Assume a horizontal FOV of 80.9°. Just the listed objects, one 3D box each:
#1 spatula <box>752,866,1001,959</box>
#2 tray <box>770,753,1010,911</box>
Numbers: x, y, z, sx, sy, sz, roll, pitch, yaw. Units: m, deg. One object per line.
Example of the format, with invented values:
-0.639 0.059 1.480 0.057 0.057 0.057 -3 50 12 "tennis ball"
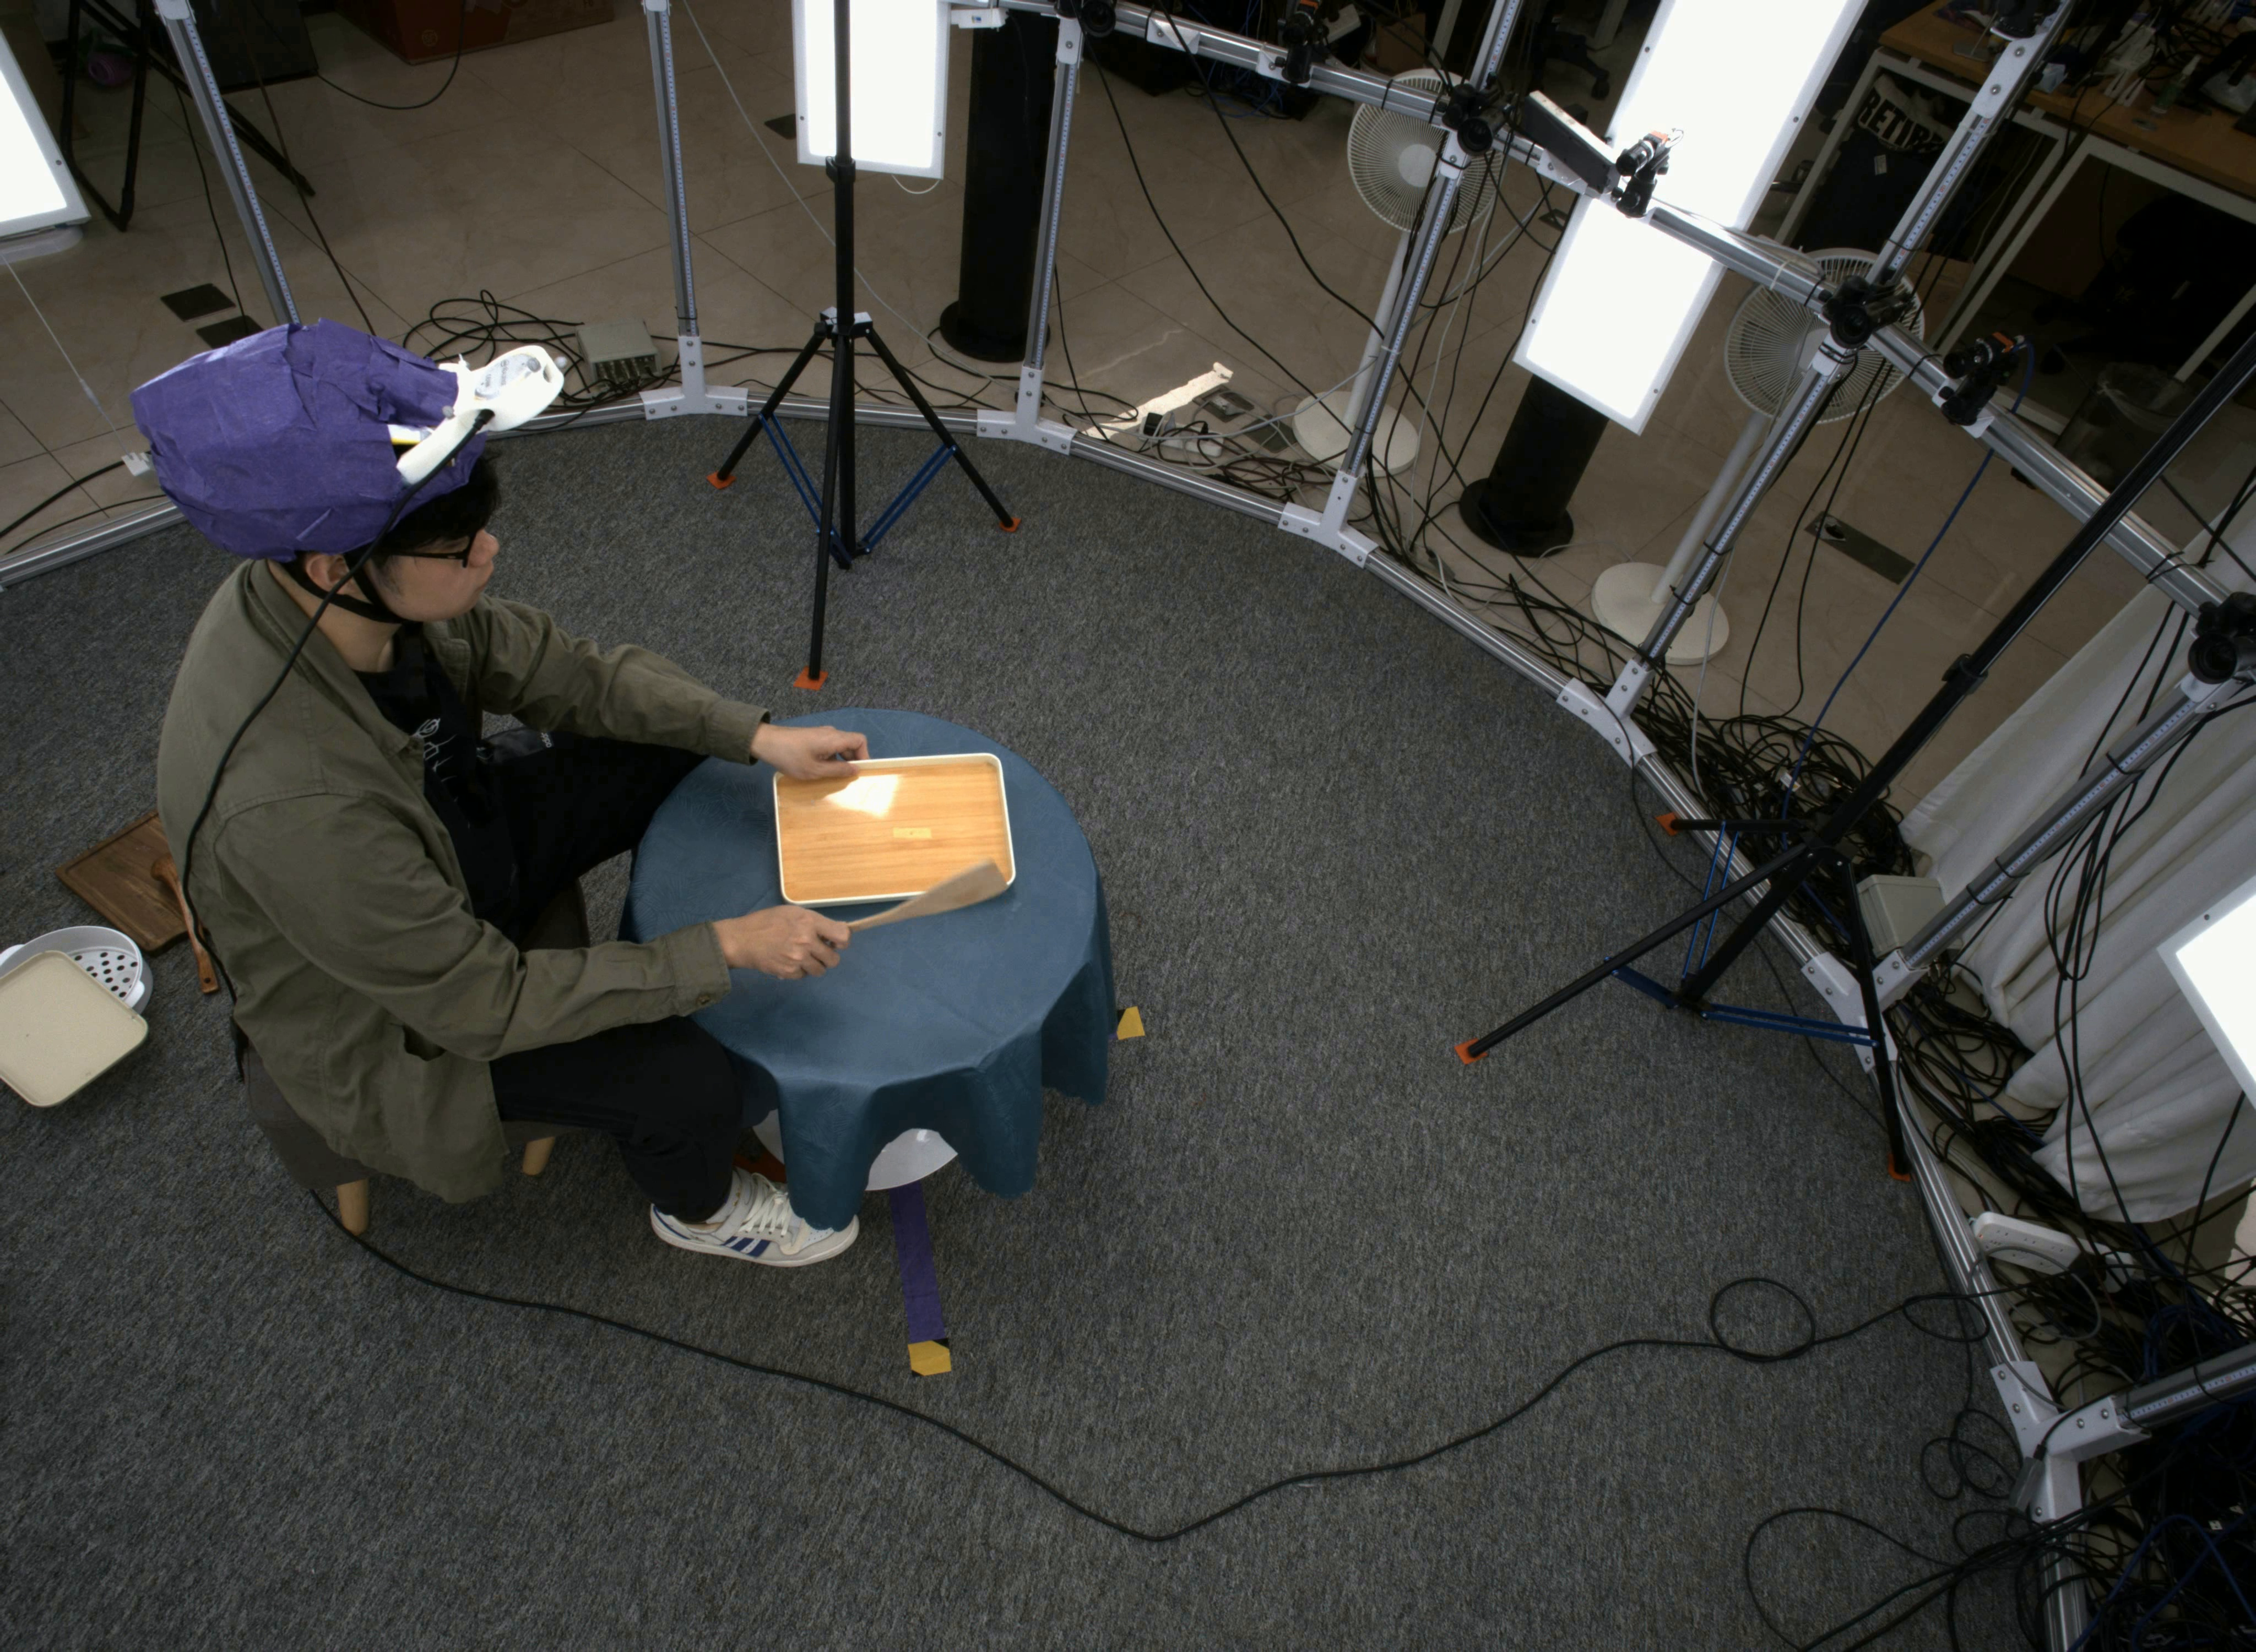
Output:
-0.296 0.106 1.512 0.322 0.082 0.016 -16 65 13 "spatula"
-0.312 0.004 1.710 0.301 0.027 0.190 -5 73 -16 "tray"
